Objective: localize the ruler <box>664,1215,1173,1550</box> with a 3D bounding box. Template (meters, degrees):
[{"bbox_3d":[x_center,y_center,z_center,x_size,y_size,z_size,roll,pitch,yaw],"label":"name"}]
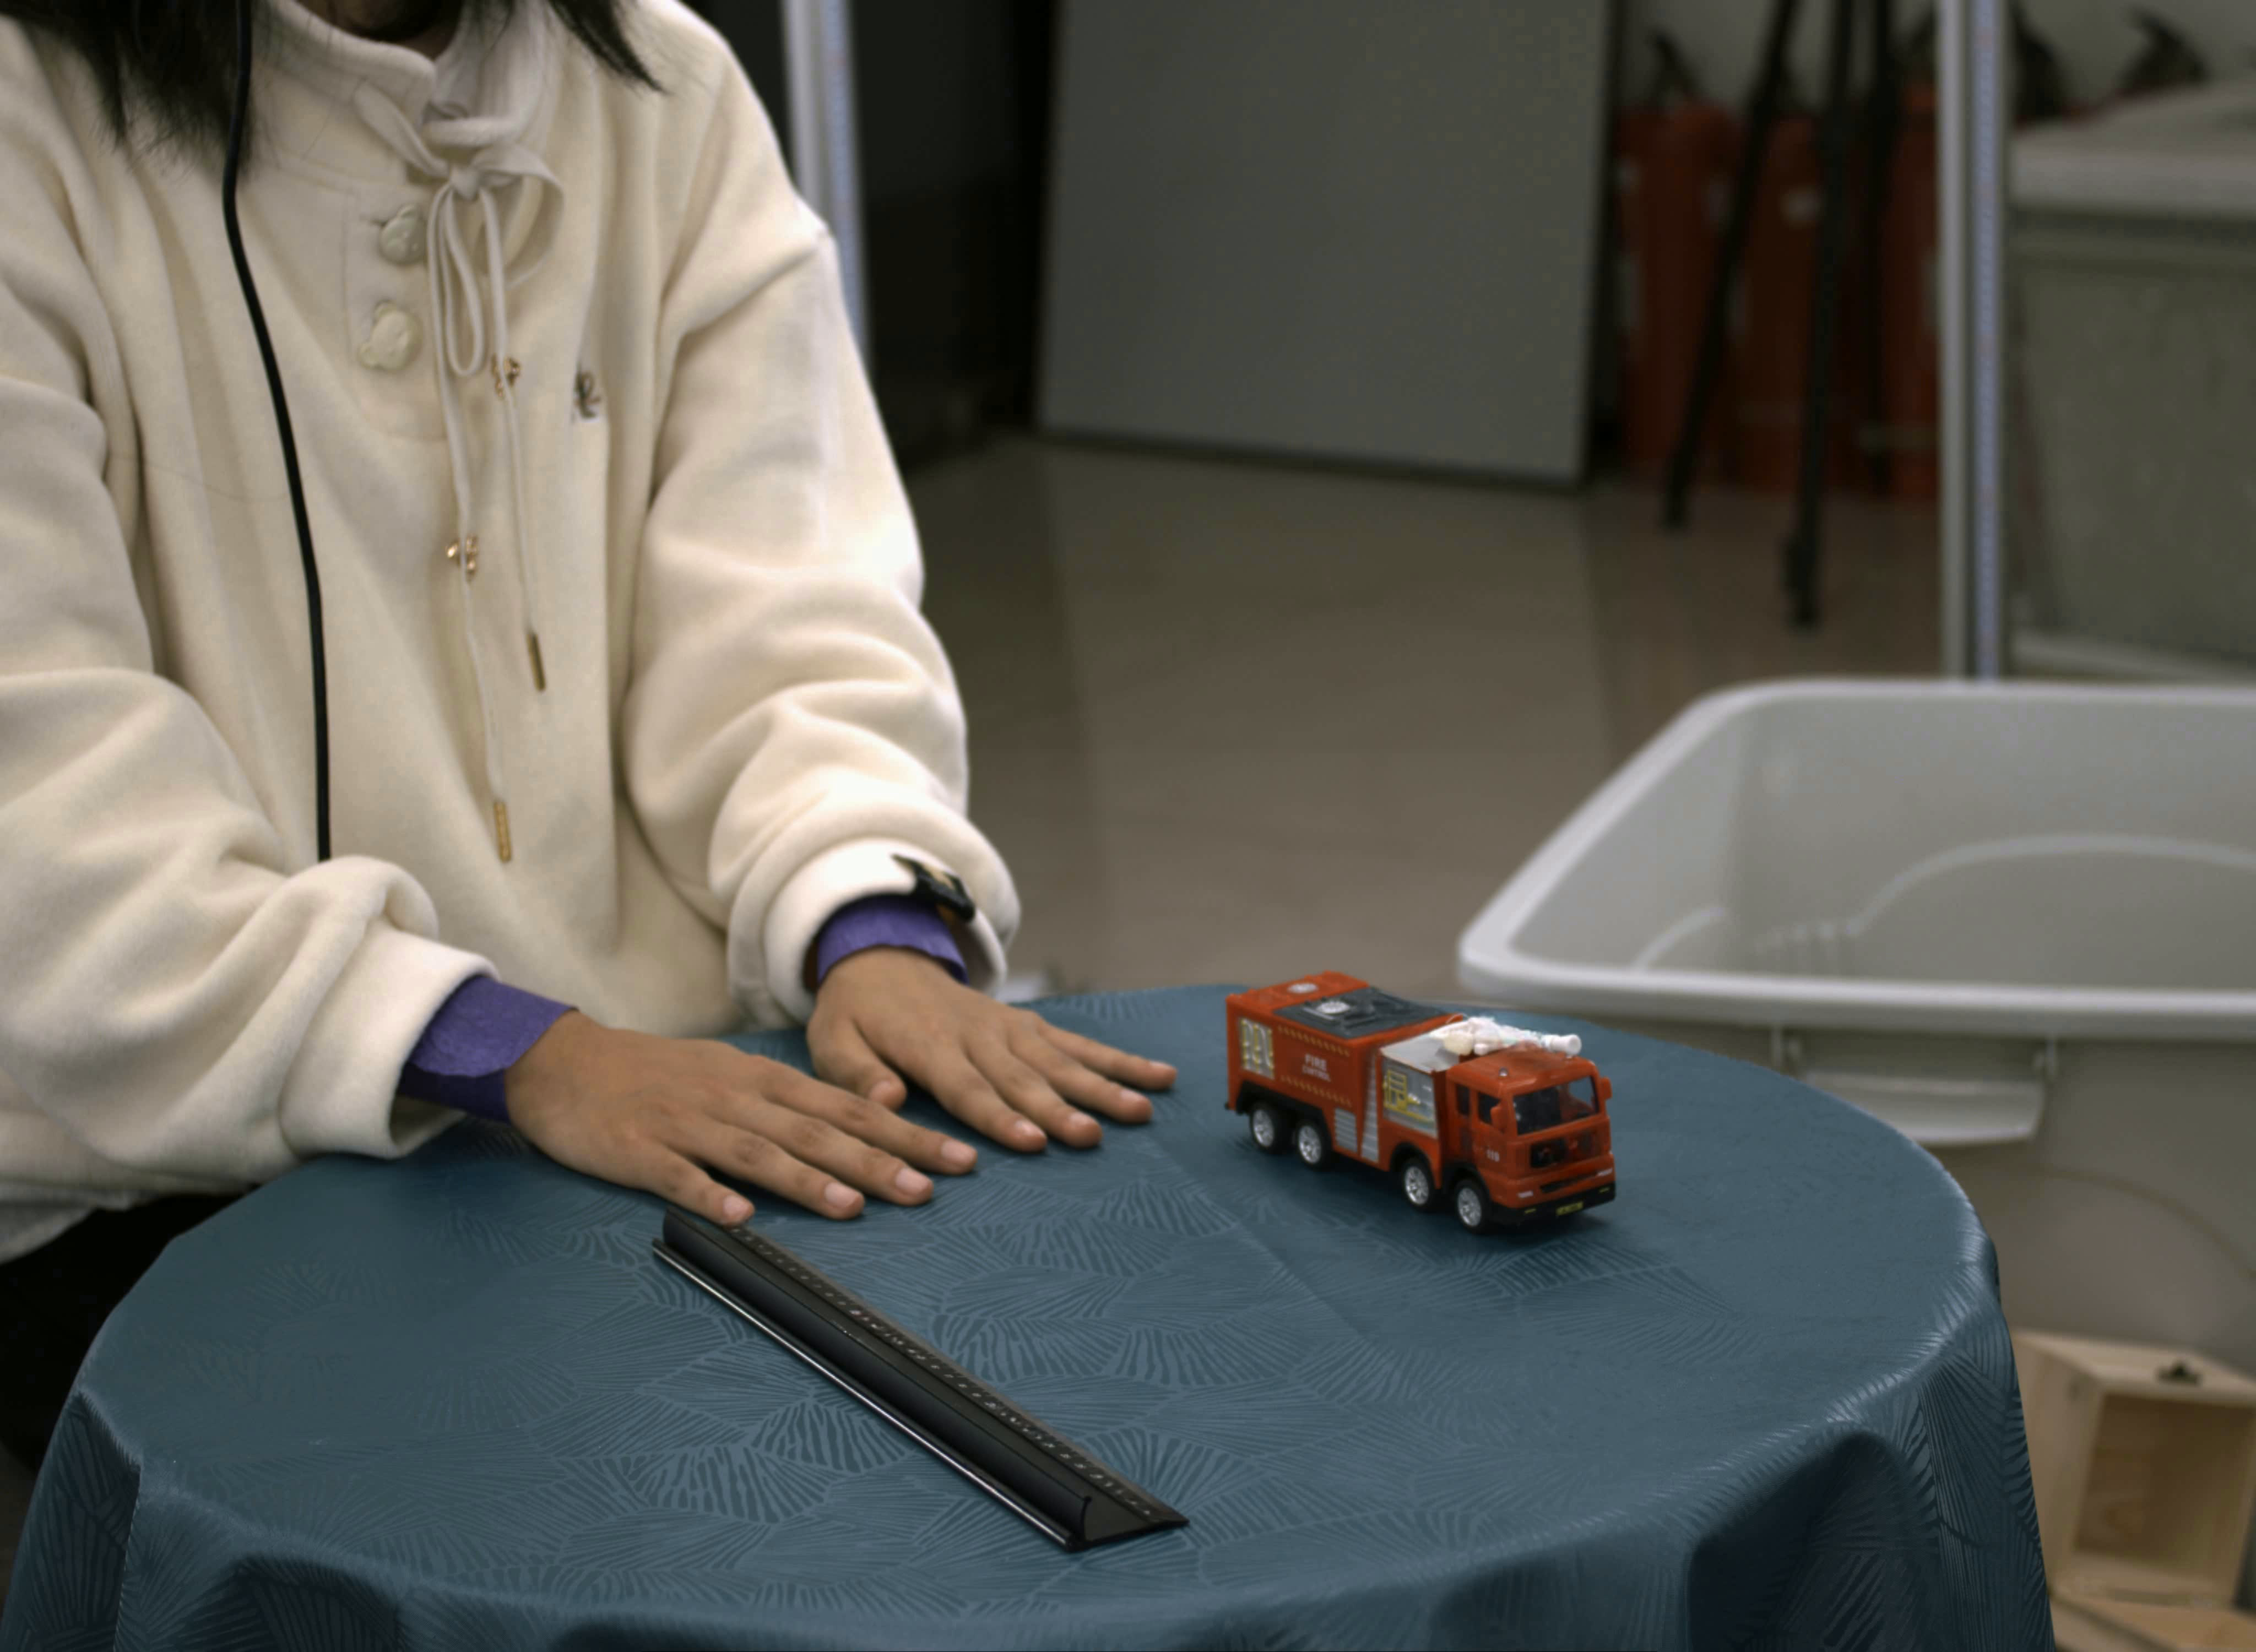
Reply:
[{"bbox_3d":[-0.067,0.158,1.605,0.038,0.017,0.316,-7,13,-24],"label":"ruler"}]

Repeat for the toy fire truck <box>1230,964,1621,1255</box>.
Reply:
[{"bbox_3d":[0.095,0.088,1.752,0.053,0.071,0.170,-13,15,-30],"label":"toy fire truck"}]
